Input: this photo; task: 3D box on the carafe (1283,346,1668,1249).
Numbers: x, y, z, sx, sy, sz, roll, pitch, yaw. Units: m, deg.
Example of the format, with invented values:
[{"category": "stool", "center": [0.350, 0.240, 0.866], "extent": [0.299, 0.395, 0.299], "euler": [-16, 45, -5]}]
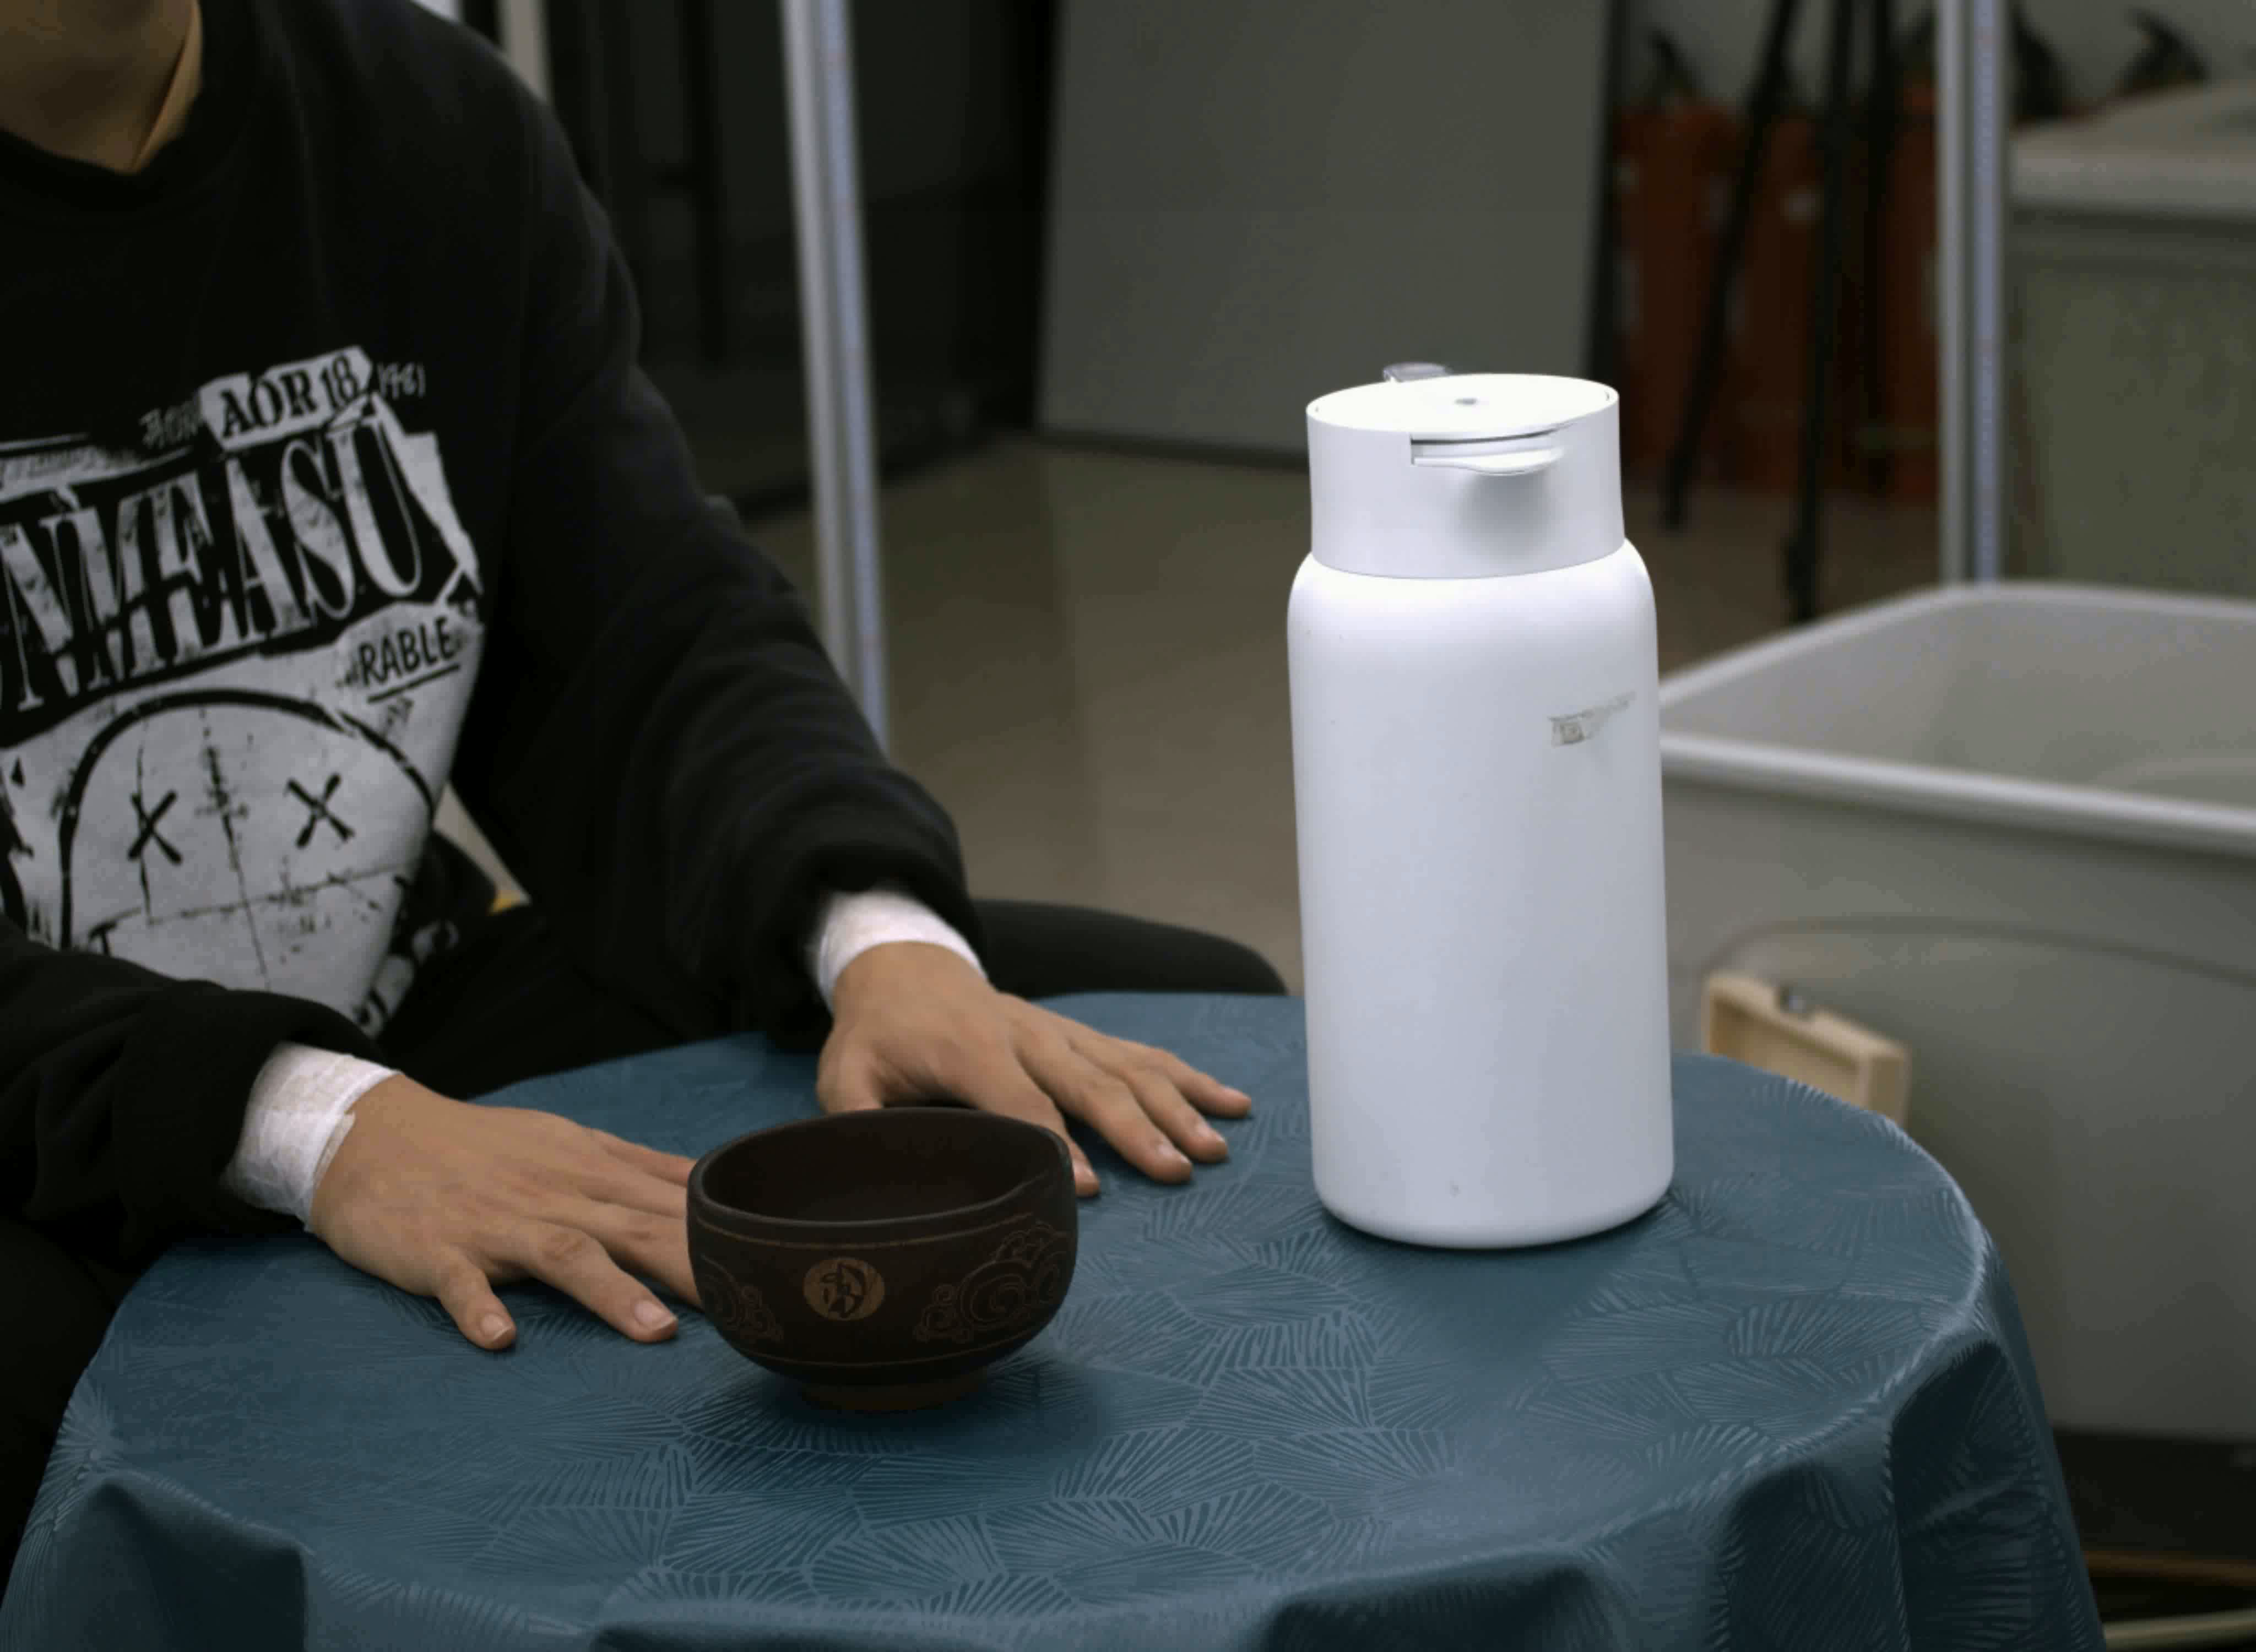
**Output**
[{"category": "carafe", "center": [0.105, -0.013, 1.723], "extent": [0.122, 0.272, 0.174], "euler": [-8, 14, -10]}]

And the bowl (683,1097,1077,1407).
[{"category": "bowl", "center": [-0.072, 0.130, 1.604], "extent": [0.116, 0.070, 0.118], "euler": [-4, 13, 0]}]
